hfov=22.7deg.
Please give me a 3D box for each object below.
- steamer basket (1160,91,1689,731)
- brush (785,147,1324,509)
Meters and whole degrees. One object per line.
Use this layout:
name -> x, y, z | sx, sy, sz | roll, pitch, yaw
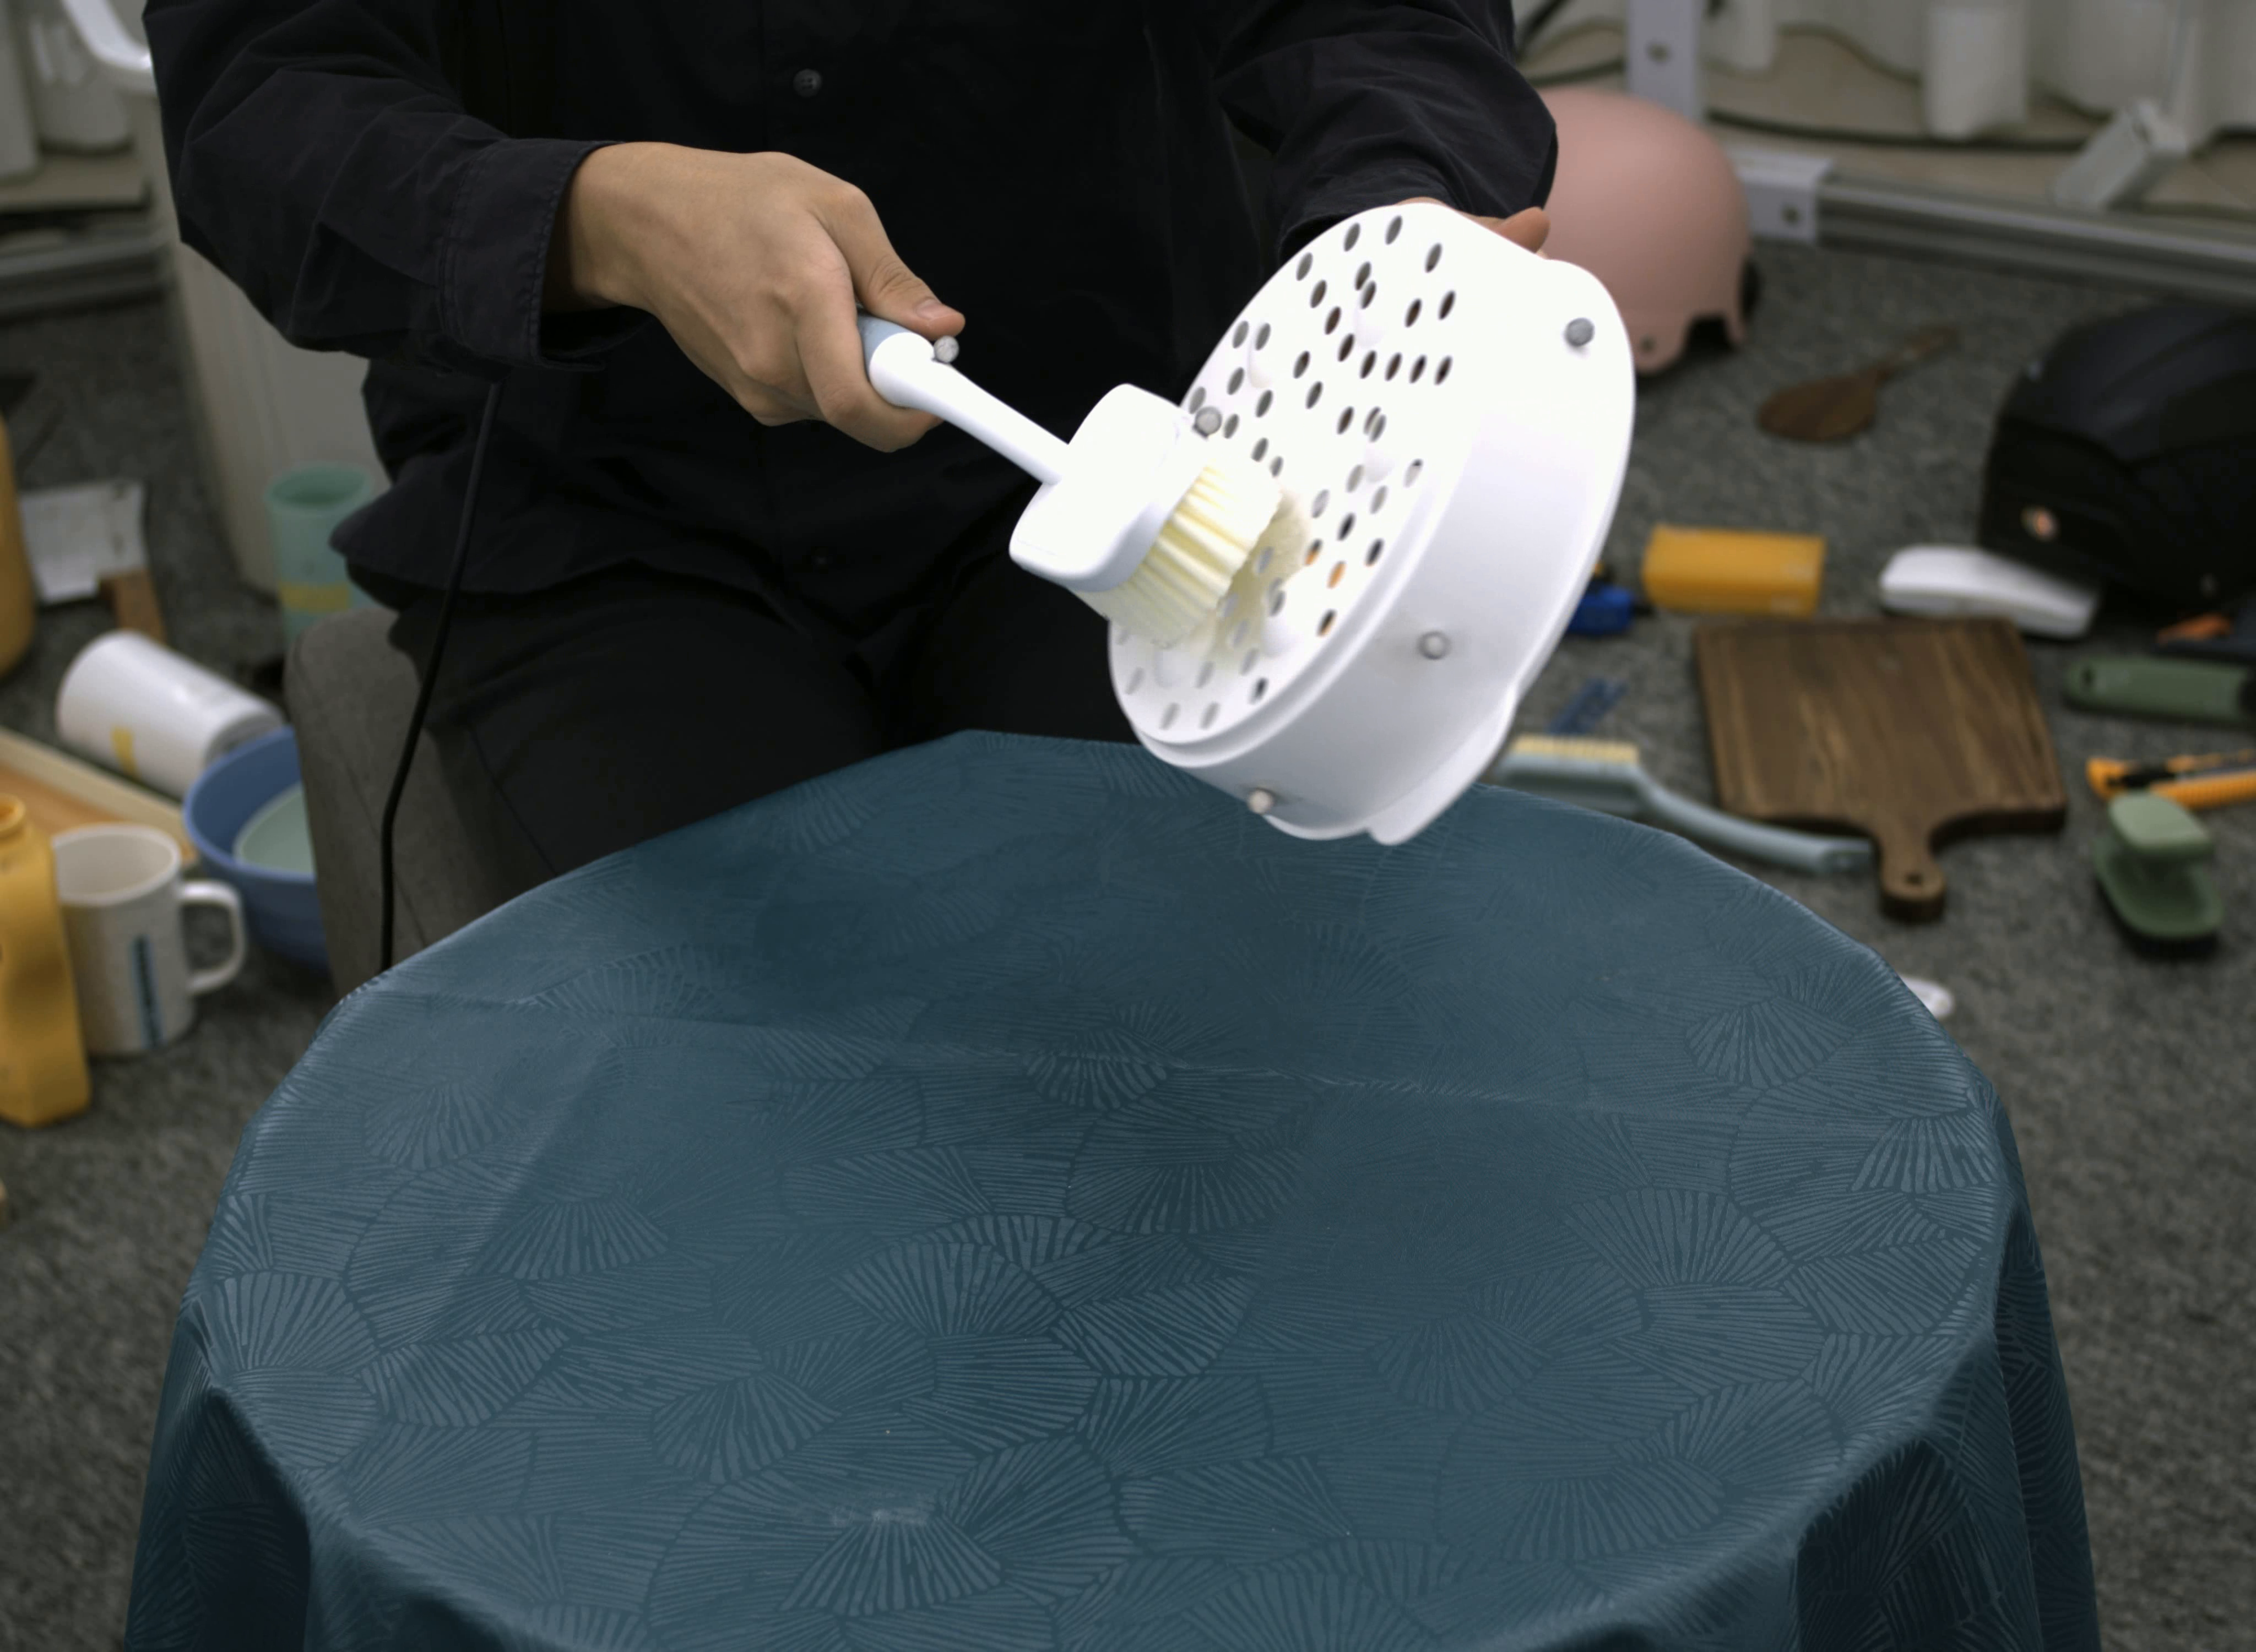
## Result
steamer basket -> 0.088, -0.135, 1.779 | 0.069, 0.198, 0.235 | 27, 38, -26
brush -> -0.015, -0.169, 1.861 | 0.083, 0.084, 0.326 | -25, 26, -17
